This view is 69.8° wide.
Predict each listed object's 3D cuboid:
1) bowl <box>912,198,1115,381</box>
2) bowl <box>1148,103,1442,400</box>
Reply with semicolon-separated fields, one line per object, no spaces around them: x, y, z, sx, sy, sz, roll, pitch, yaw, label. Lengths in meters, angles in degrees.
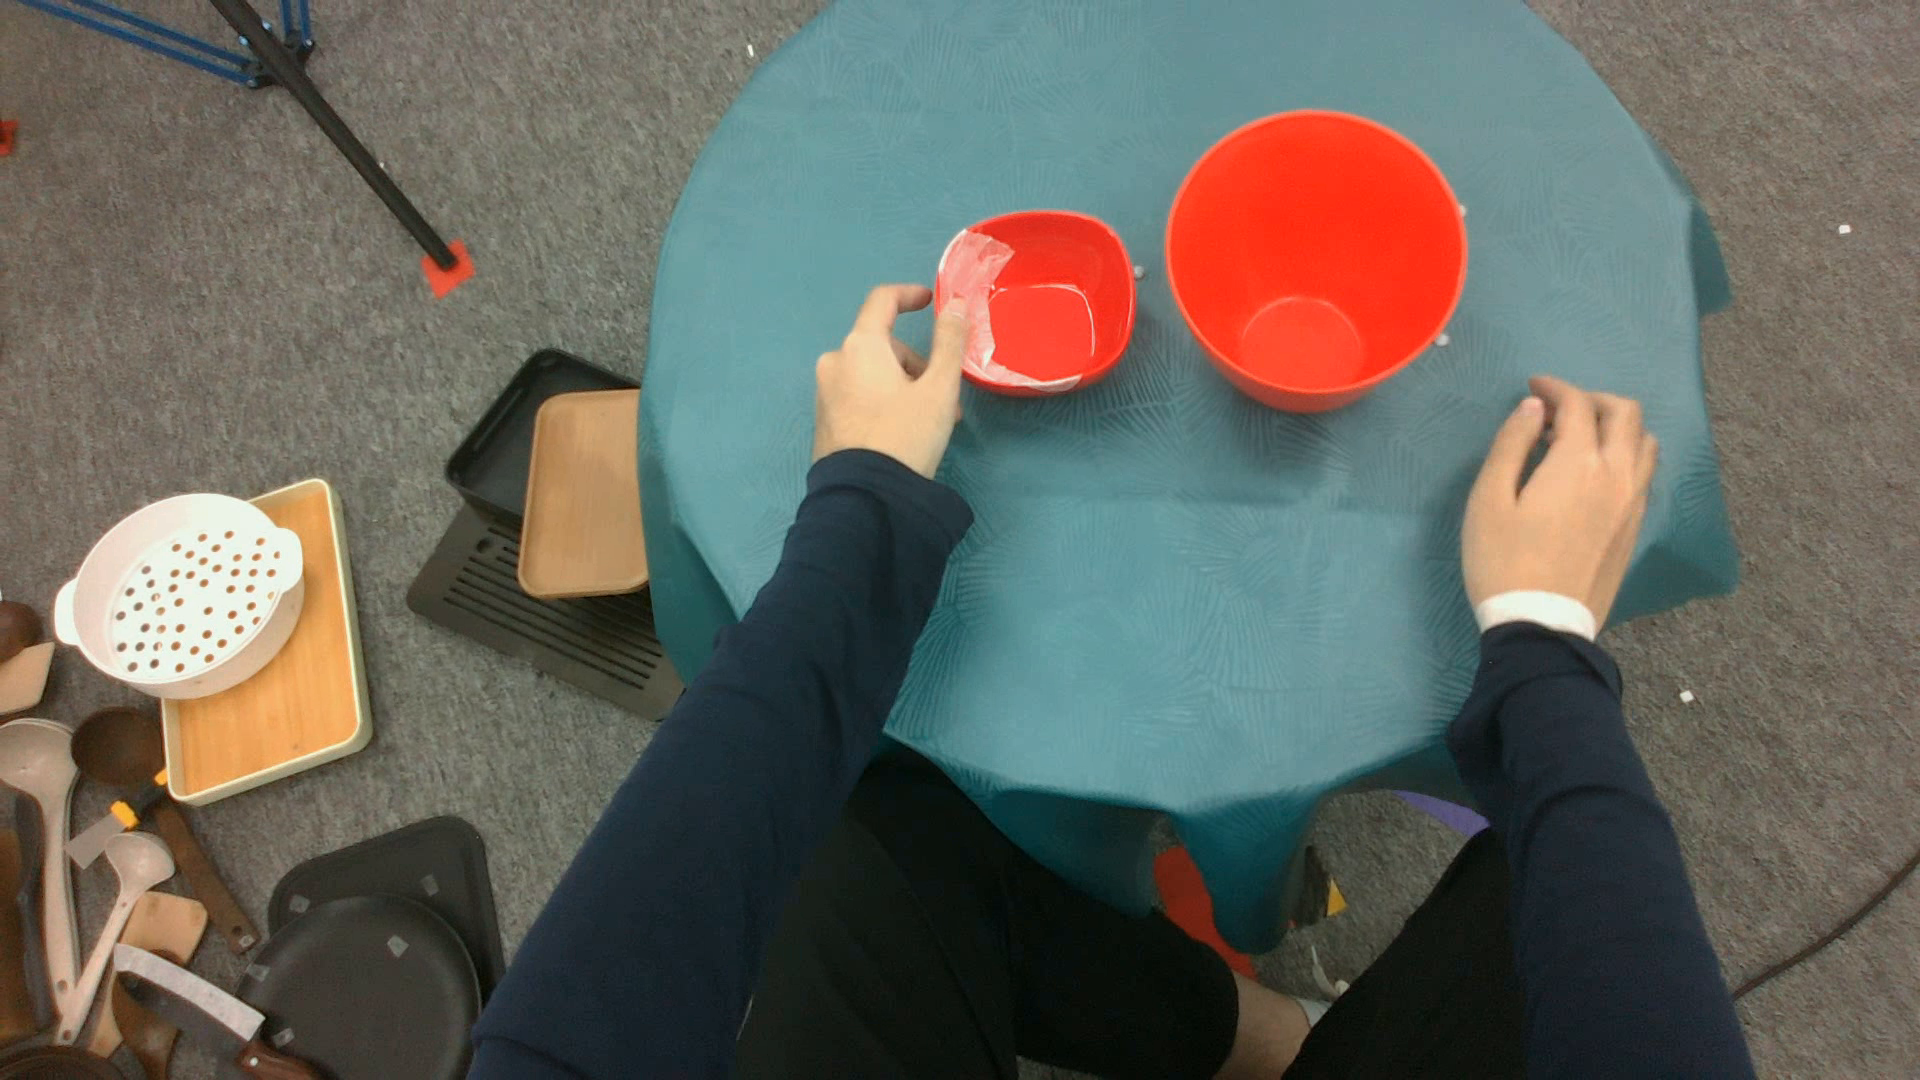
0.031;-0.131;0.770;0.119;0.051;0.119;-1;67;4;bowl
0.173;-0.140;0.734;0.148;0.104;0.148;-1;69;4;bowl
